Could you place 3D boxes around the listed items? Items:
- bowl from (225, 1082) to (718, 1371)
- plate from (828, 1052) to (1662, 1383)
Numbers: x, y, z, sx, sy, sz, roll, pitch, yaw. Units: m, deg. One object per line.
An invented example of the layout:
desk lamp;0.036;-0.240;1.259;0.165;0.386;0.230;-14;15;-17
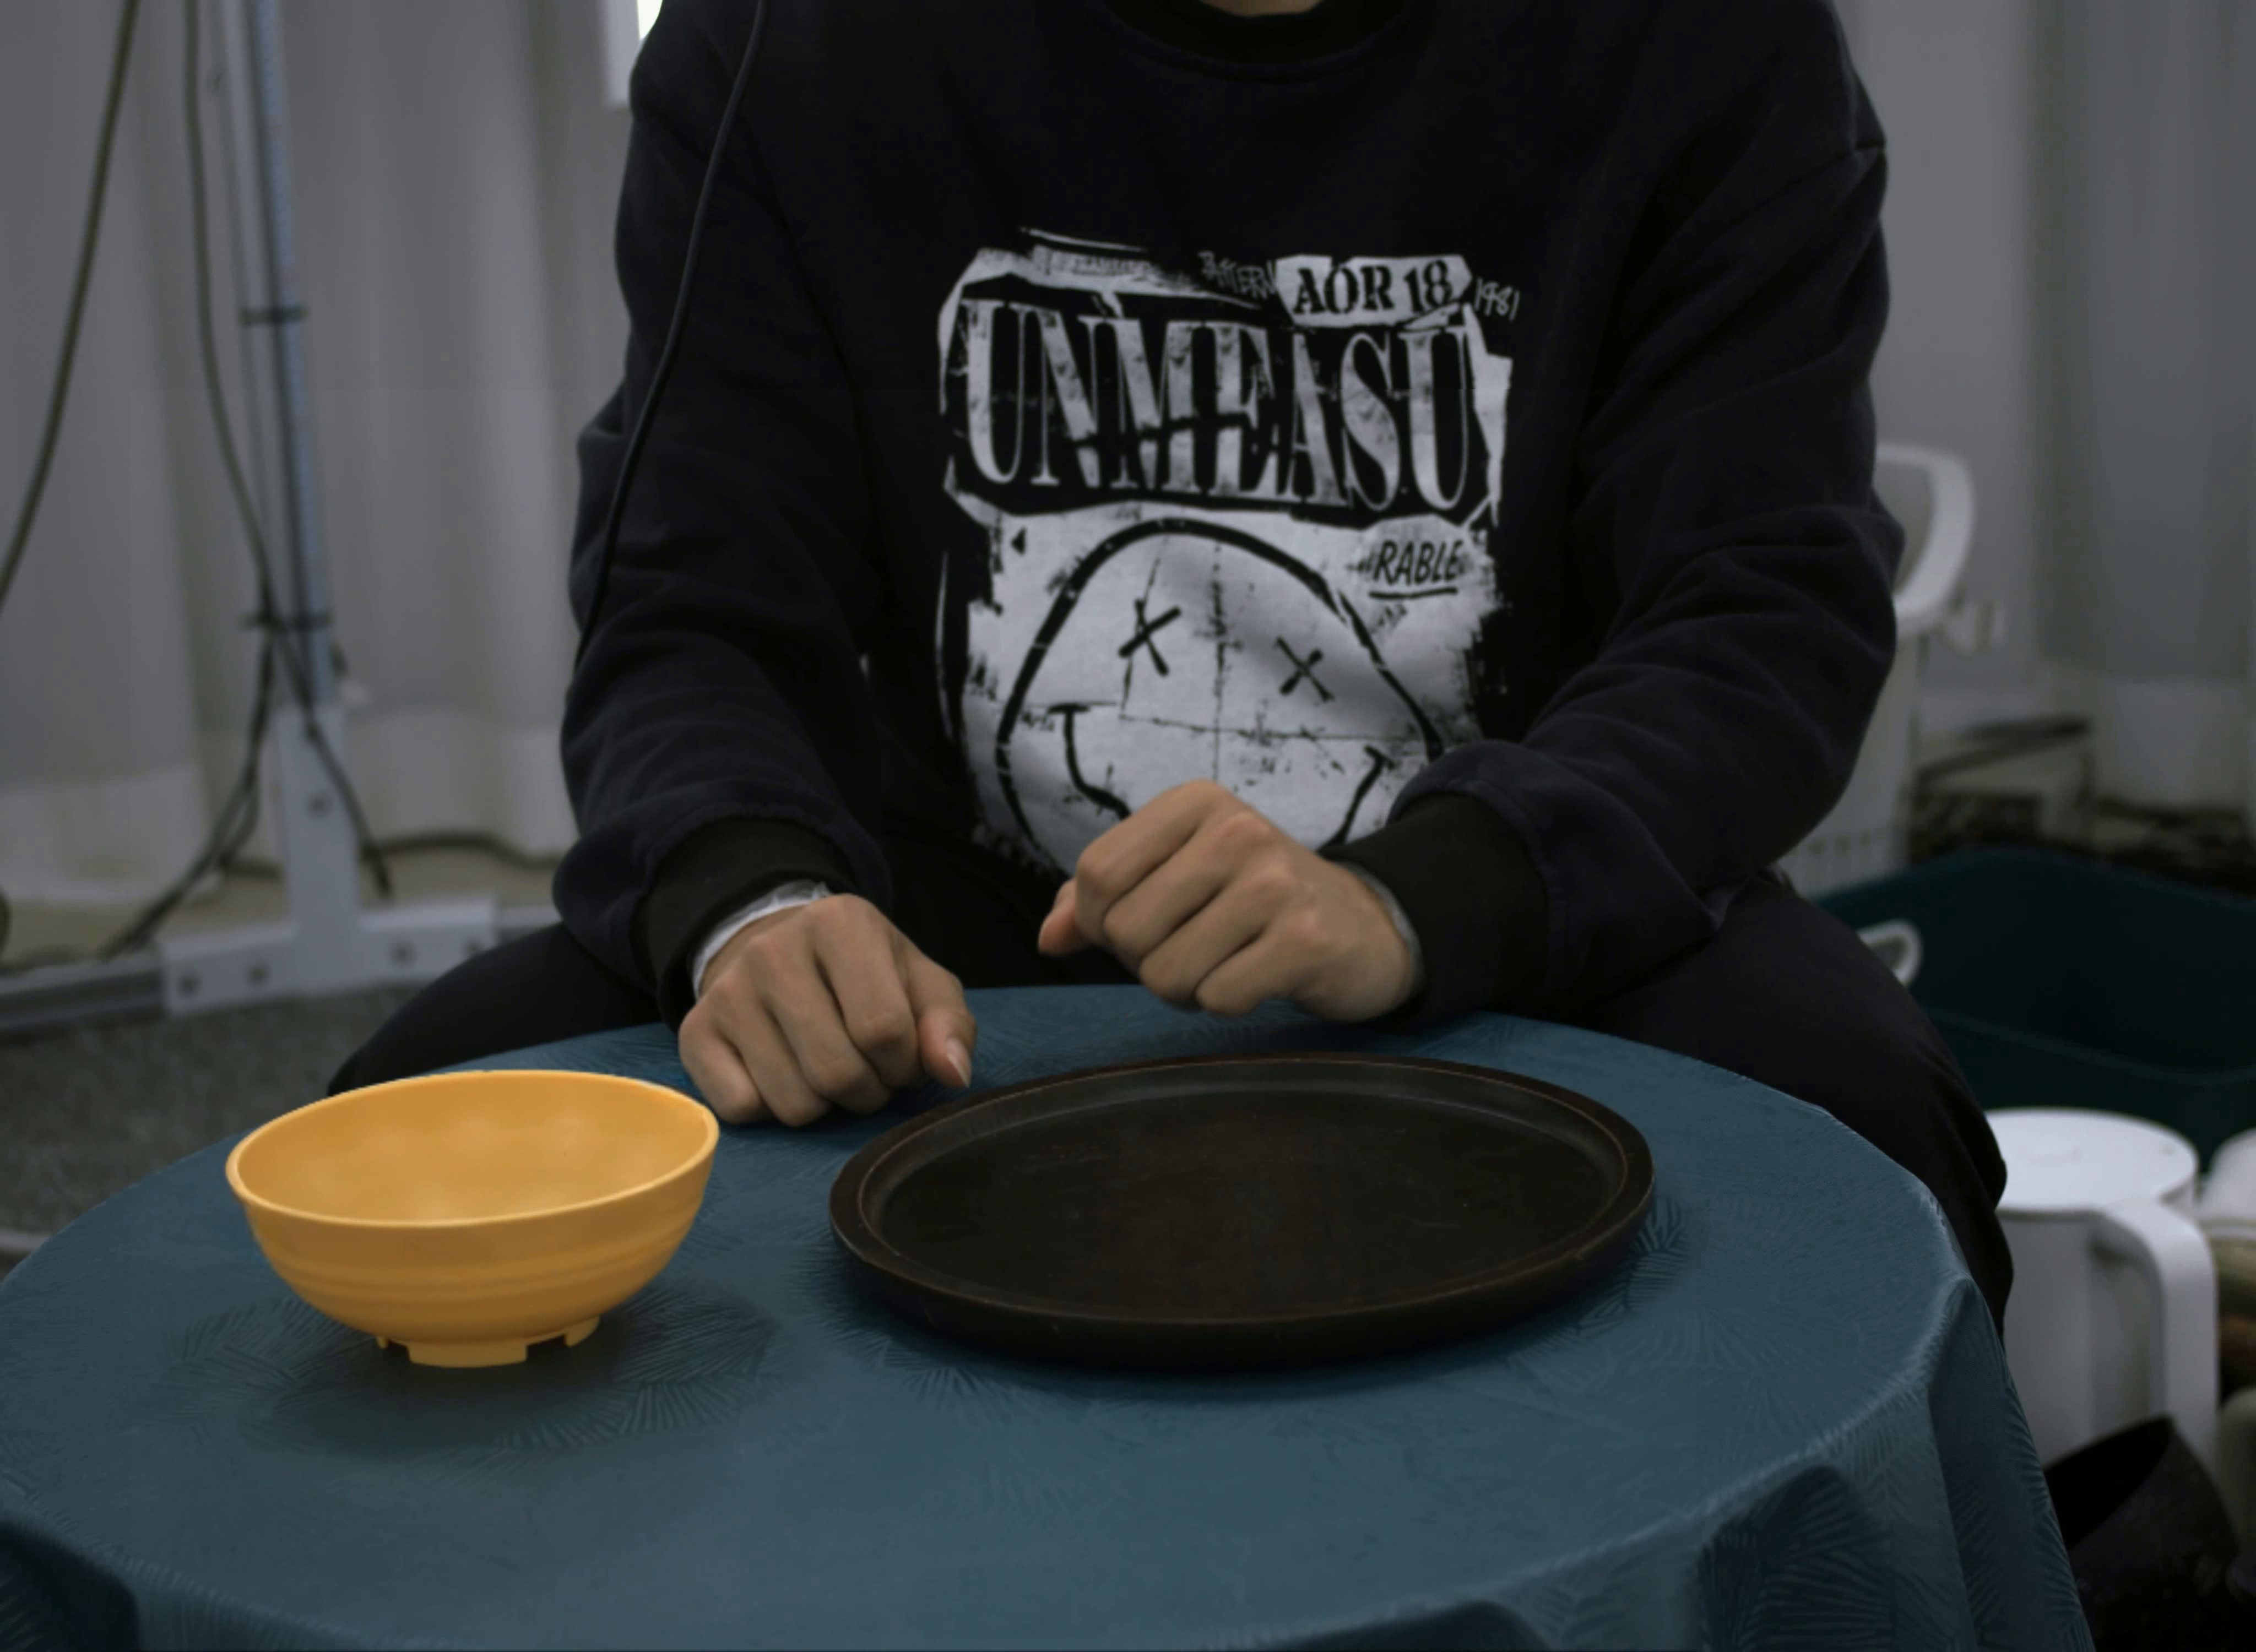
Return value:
bowl;-0.192;0.123;1.613;0.145;0.060;0.146;-1;13;0
plate;0.035;0.116;1.659;0.254;0.029;0.256;-4;14;1
